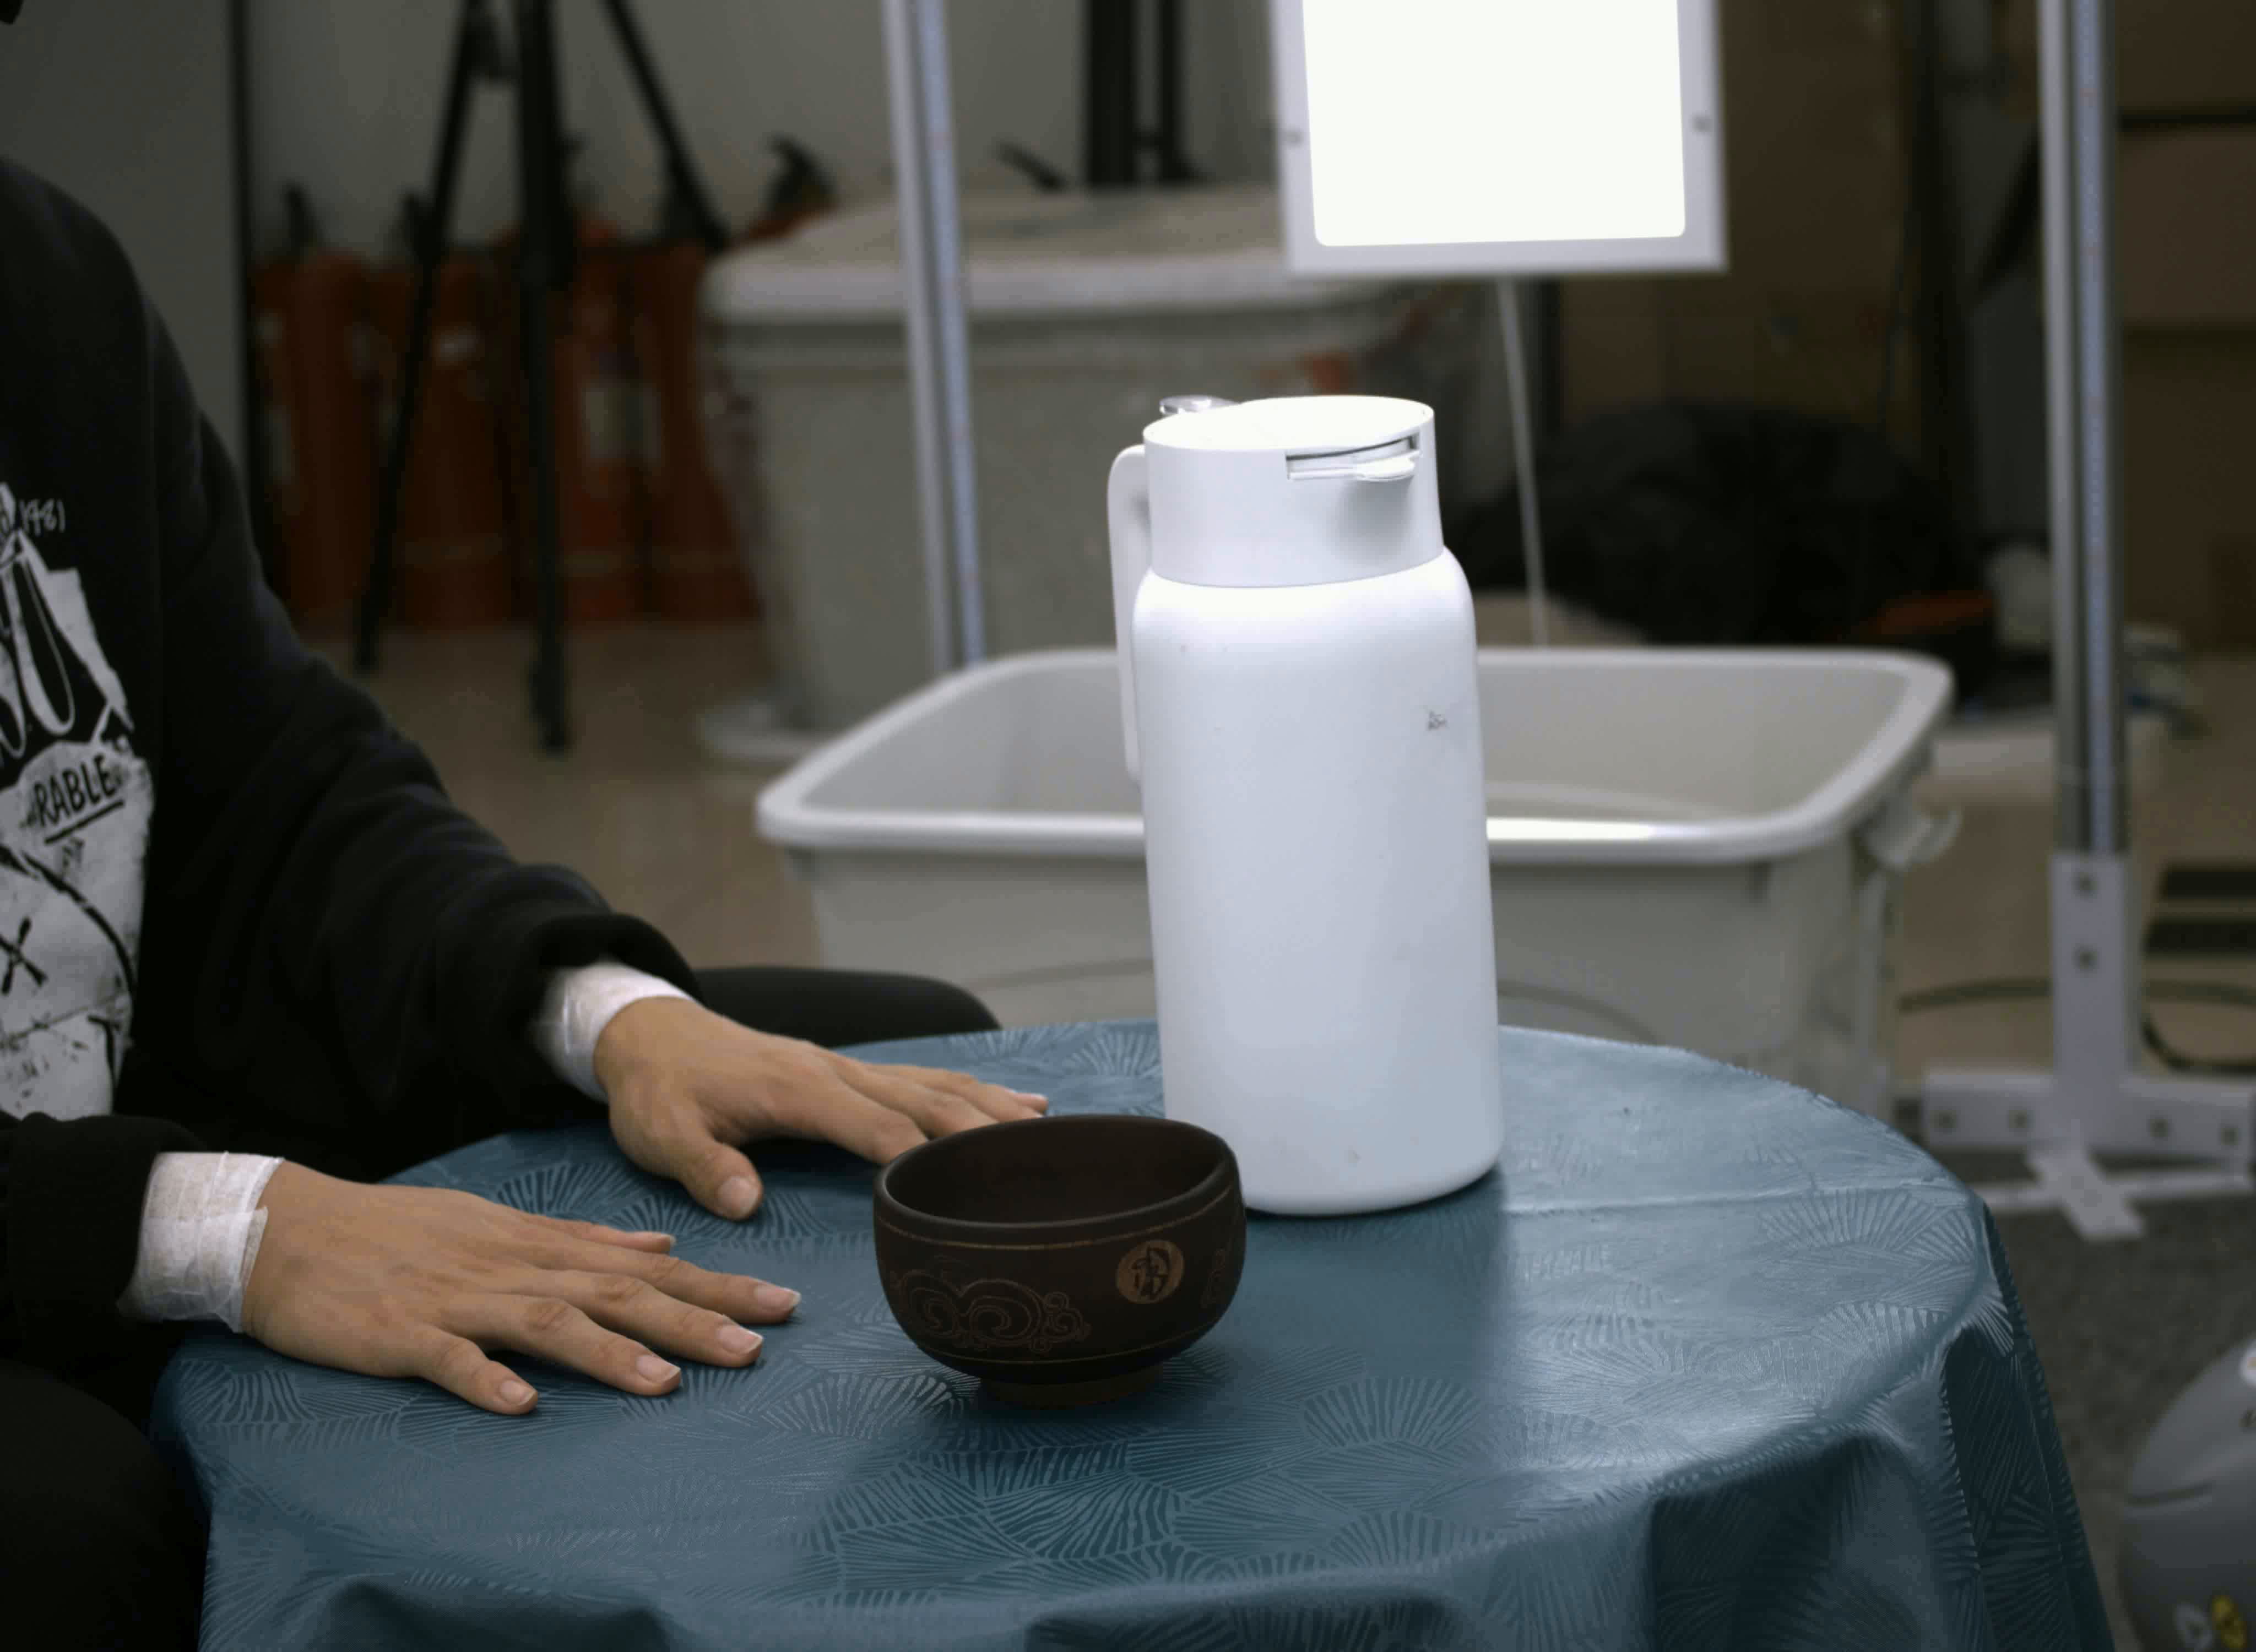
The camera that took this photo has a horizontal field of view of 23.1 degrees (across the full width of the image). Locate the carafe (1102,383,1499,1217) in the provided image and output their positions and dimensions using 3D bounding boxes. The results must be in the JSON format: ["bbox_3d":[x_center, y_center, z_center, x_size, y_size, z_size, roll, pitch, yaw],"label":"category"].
[{"bbox_3d":[0.052,-0.011,1.881,0.121,0.270,0.176,-15,17,-28],"label":"carafe"}]

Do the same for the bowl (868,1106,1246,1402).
[{"bbox_3d":[-0.020,0.137,1.711,0.118,0.070,0.118,-6,14,0],"label":"bowl"}]
